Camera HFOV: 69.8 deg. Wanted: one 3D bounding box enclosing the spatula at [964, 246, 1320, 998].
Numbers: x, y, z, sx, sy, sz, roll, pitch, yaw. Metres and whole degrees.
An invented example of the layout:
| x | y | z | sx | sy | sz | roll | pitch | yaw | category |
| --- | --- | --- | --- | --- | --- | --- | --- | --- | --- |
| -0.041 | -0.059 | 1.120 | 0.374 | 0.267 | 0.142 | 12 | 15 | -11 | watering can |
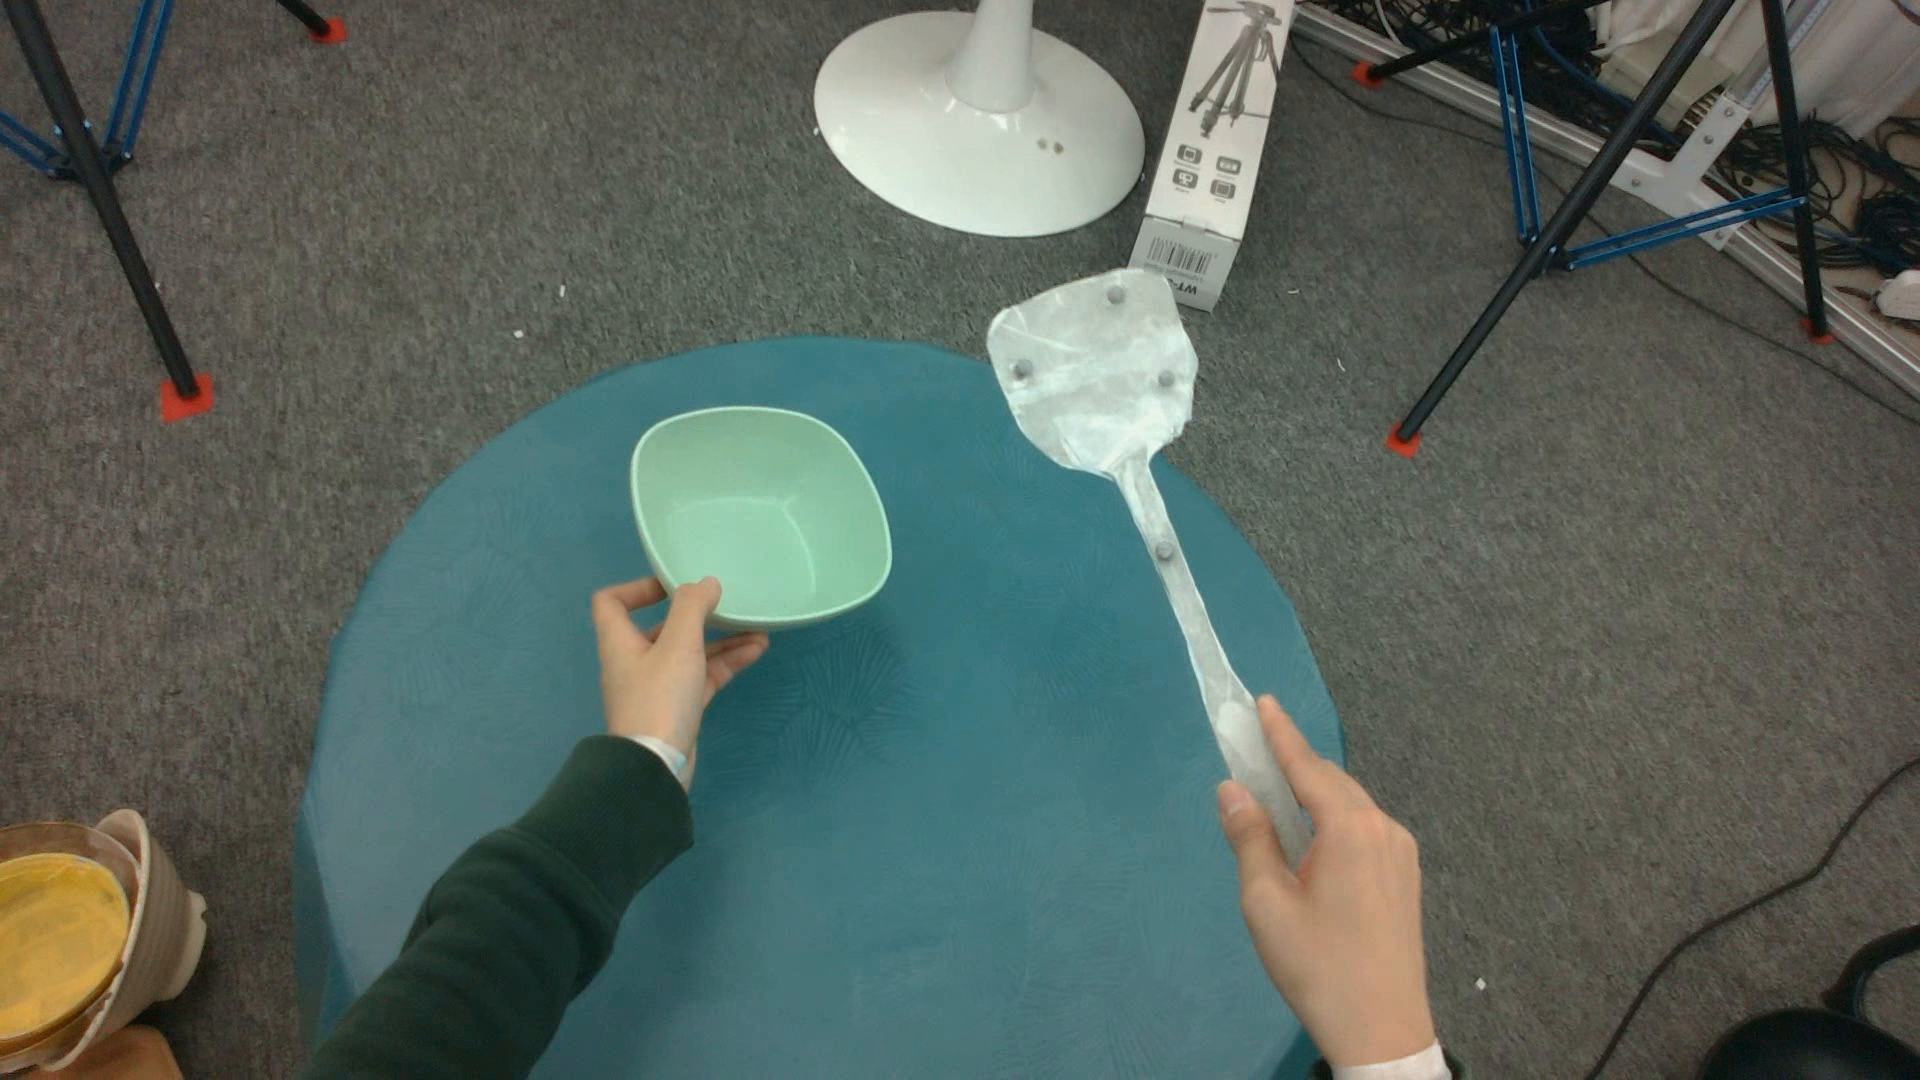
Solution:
| x | y | z | sx | sy | sz | roll | pitch | yaw | category |
| --- | --- | --- | --- | --- | --- | --- | --- | --- | --- |
| 0.090 | 0.016 | 0.613 | 0.098 | 0.044 | 0.366 | -18 | 58 | 2 | spatula |

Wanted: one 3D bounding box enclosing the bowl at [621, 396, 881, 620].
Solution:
| x | y | z | sx | sy | sz | roll | pitch | yaw | category |
| --- | --- | --- | --- | --- | --- | --- | --- | --- | --- |
| -0.121 | -0.008 | 0.756 | 0.151 | 0.058 | 0.152 | 16 | 49 | -19 | bowl |
